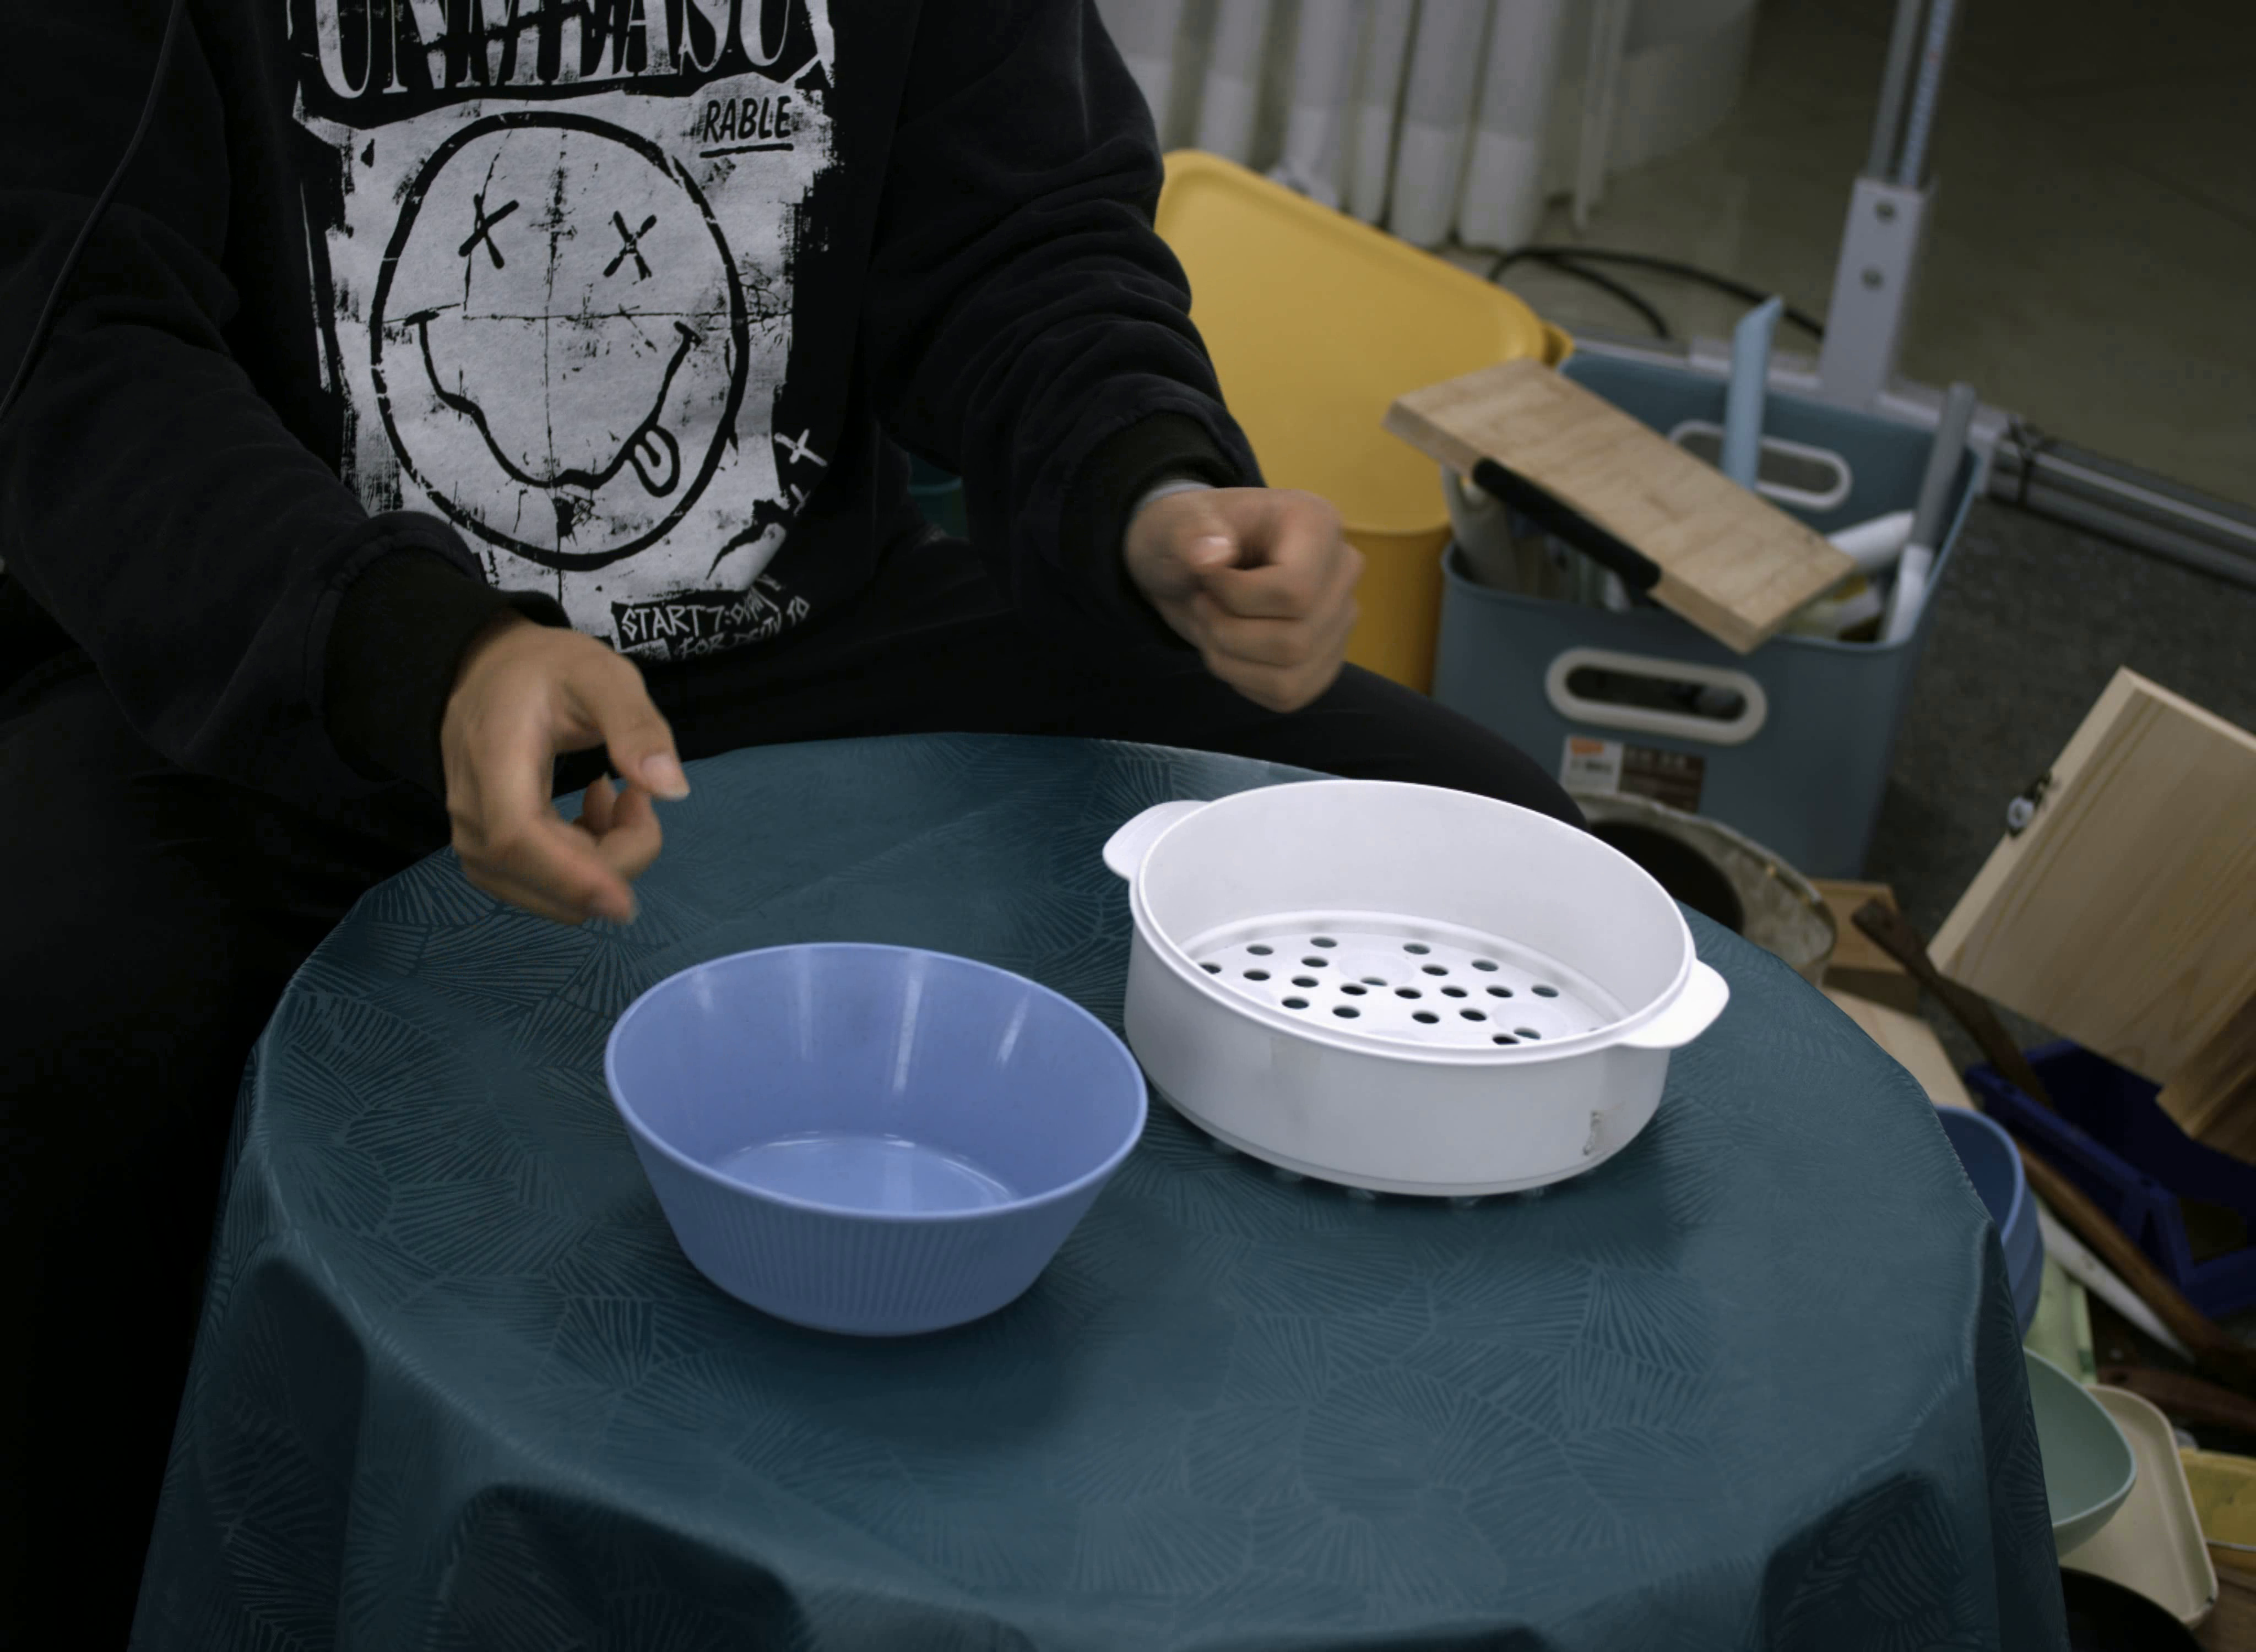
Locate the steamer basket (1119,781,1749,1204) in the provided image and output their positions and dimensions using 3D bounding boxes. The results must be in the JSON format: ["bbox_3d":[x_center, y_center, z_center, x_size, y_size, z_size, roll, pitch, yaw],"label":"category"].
[{"bbox_3d":[0.102,0.059,1.876,0.231,0.069,0.202,20,29,20],"label":"steamer basket"}]

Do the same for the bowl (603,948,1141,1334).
[{"bbox_3d":[-0.086,0.109,1.732,0.175,0.070,0.177,6,26,-3],"label":"bowl"}]
